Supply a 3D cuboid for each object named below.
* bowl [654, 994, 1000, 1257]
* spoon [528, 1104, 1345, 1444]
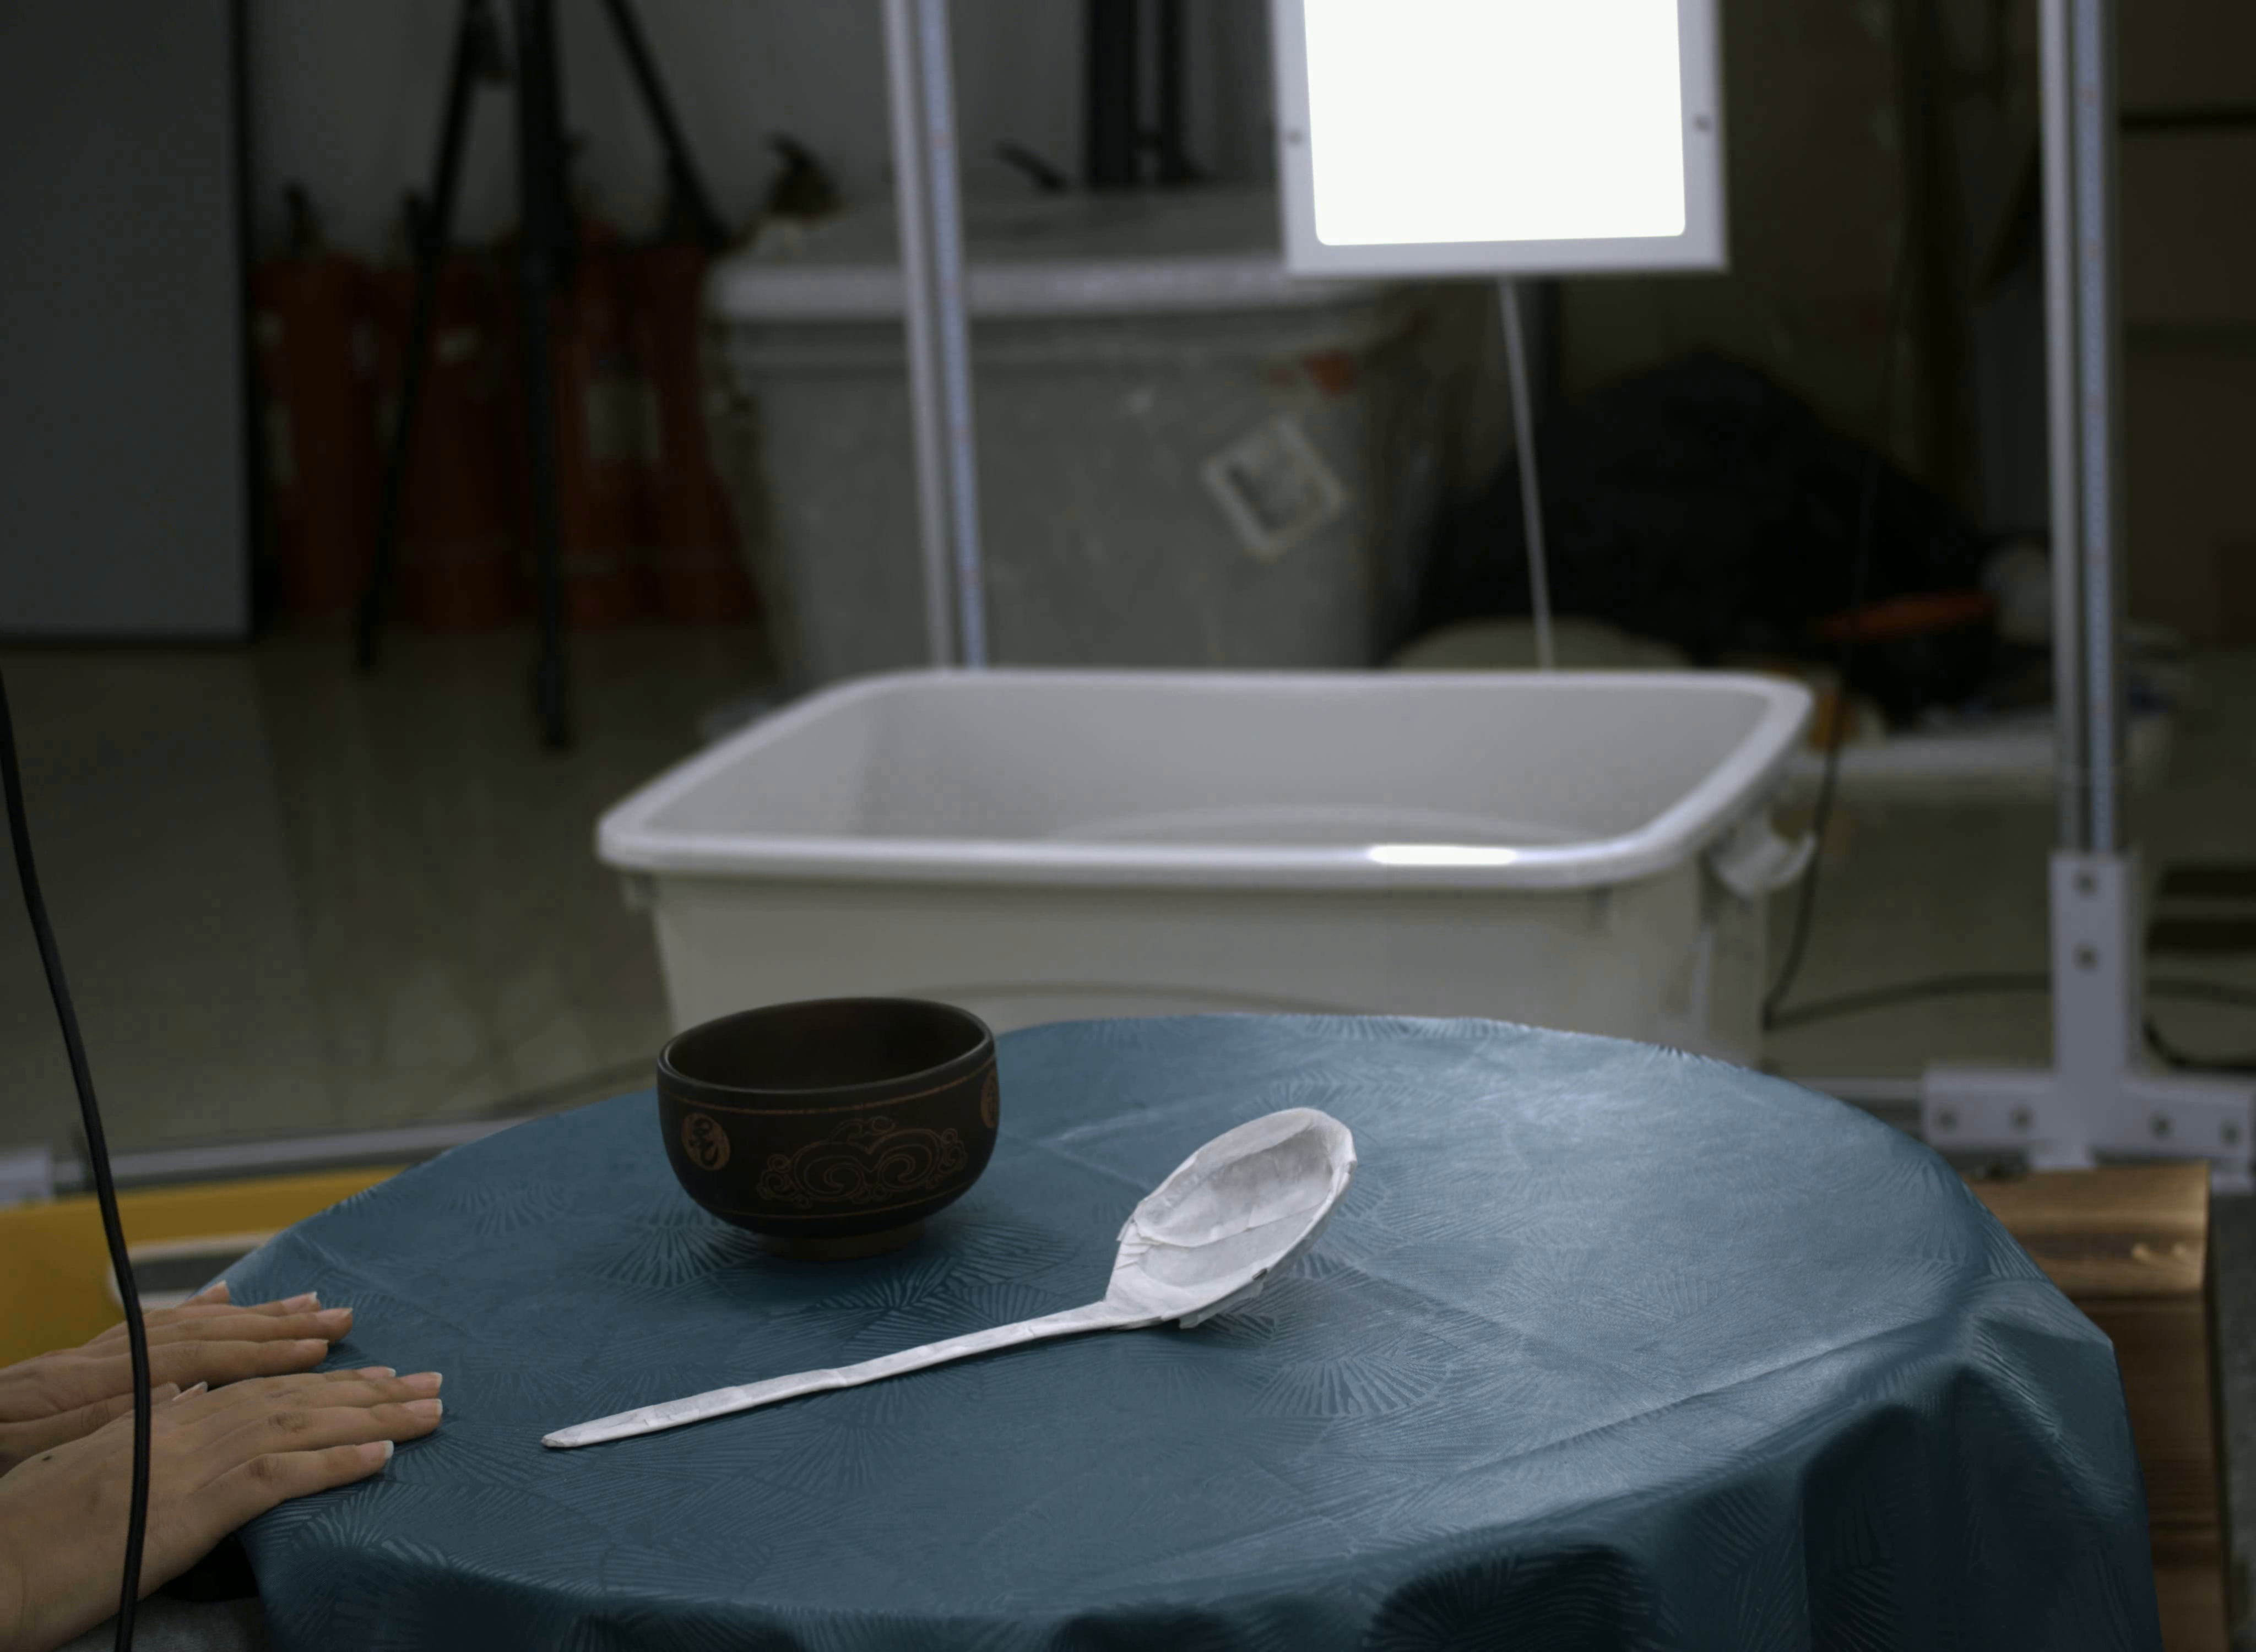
[{"bbox_3d":[-0.101,0.105,1.870,0.118,0.070,0.118,-5,13,0],"label":"bowl"},{"bbox_3d":[-0.061,0.140,1.746,0.273,0.059,0.102,-10,11,-18],"label":"spoon"}]
